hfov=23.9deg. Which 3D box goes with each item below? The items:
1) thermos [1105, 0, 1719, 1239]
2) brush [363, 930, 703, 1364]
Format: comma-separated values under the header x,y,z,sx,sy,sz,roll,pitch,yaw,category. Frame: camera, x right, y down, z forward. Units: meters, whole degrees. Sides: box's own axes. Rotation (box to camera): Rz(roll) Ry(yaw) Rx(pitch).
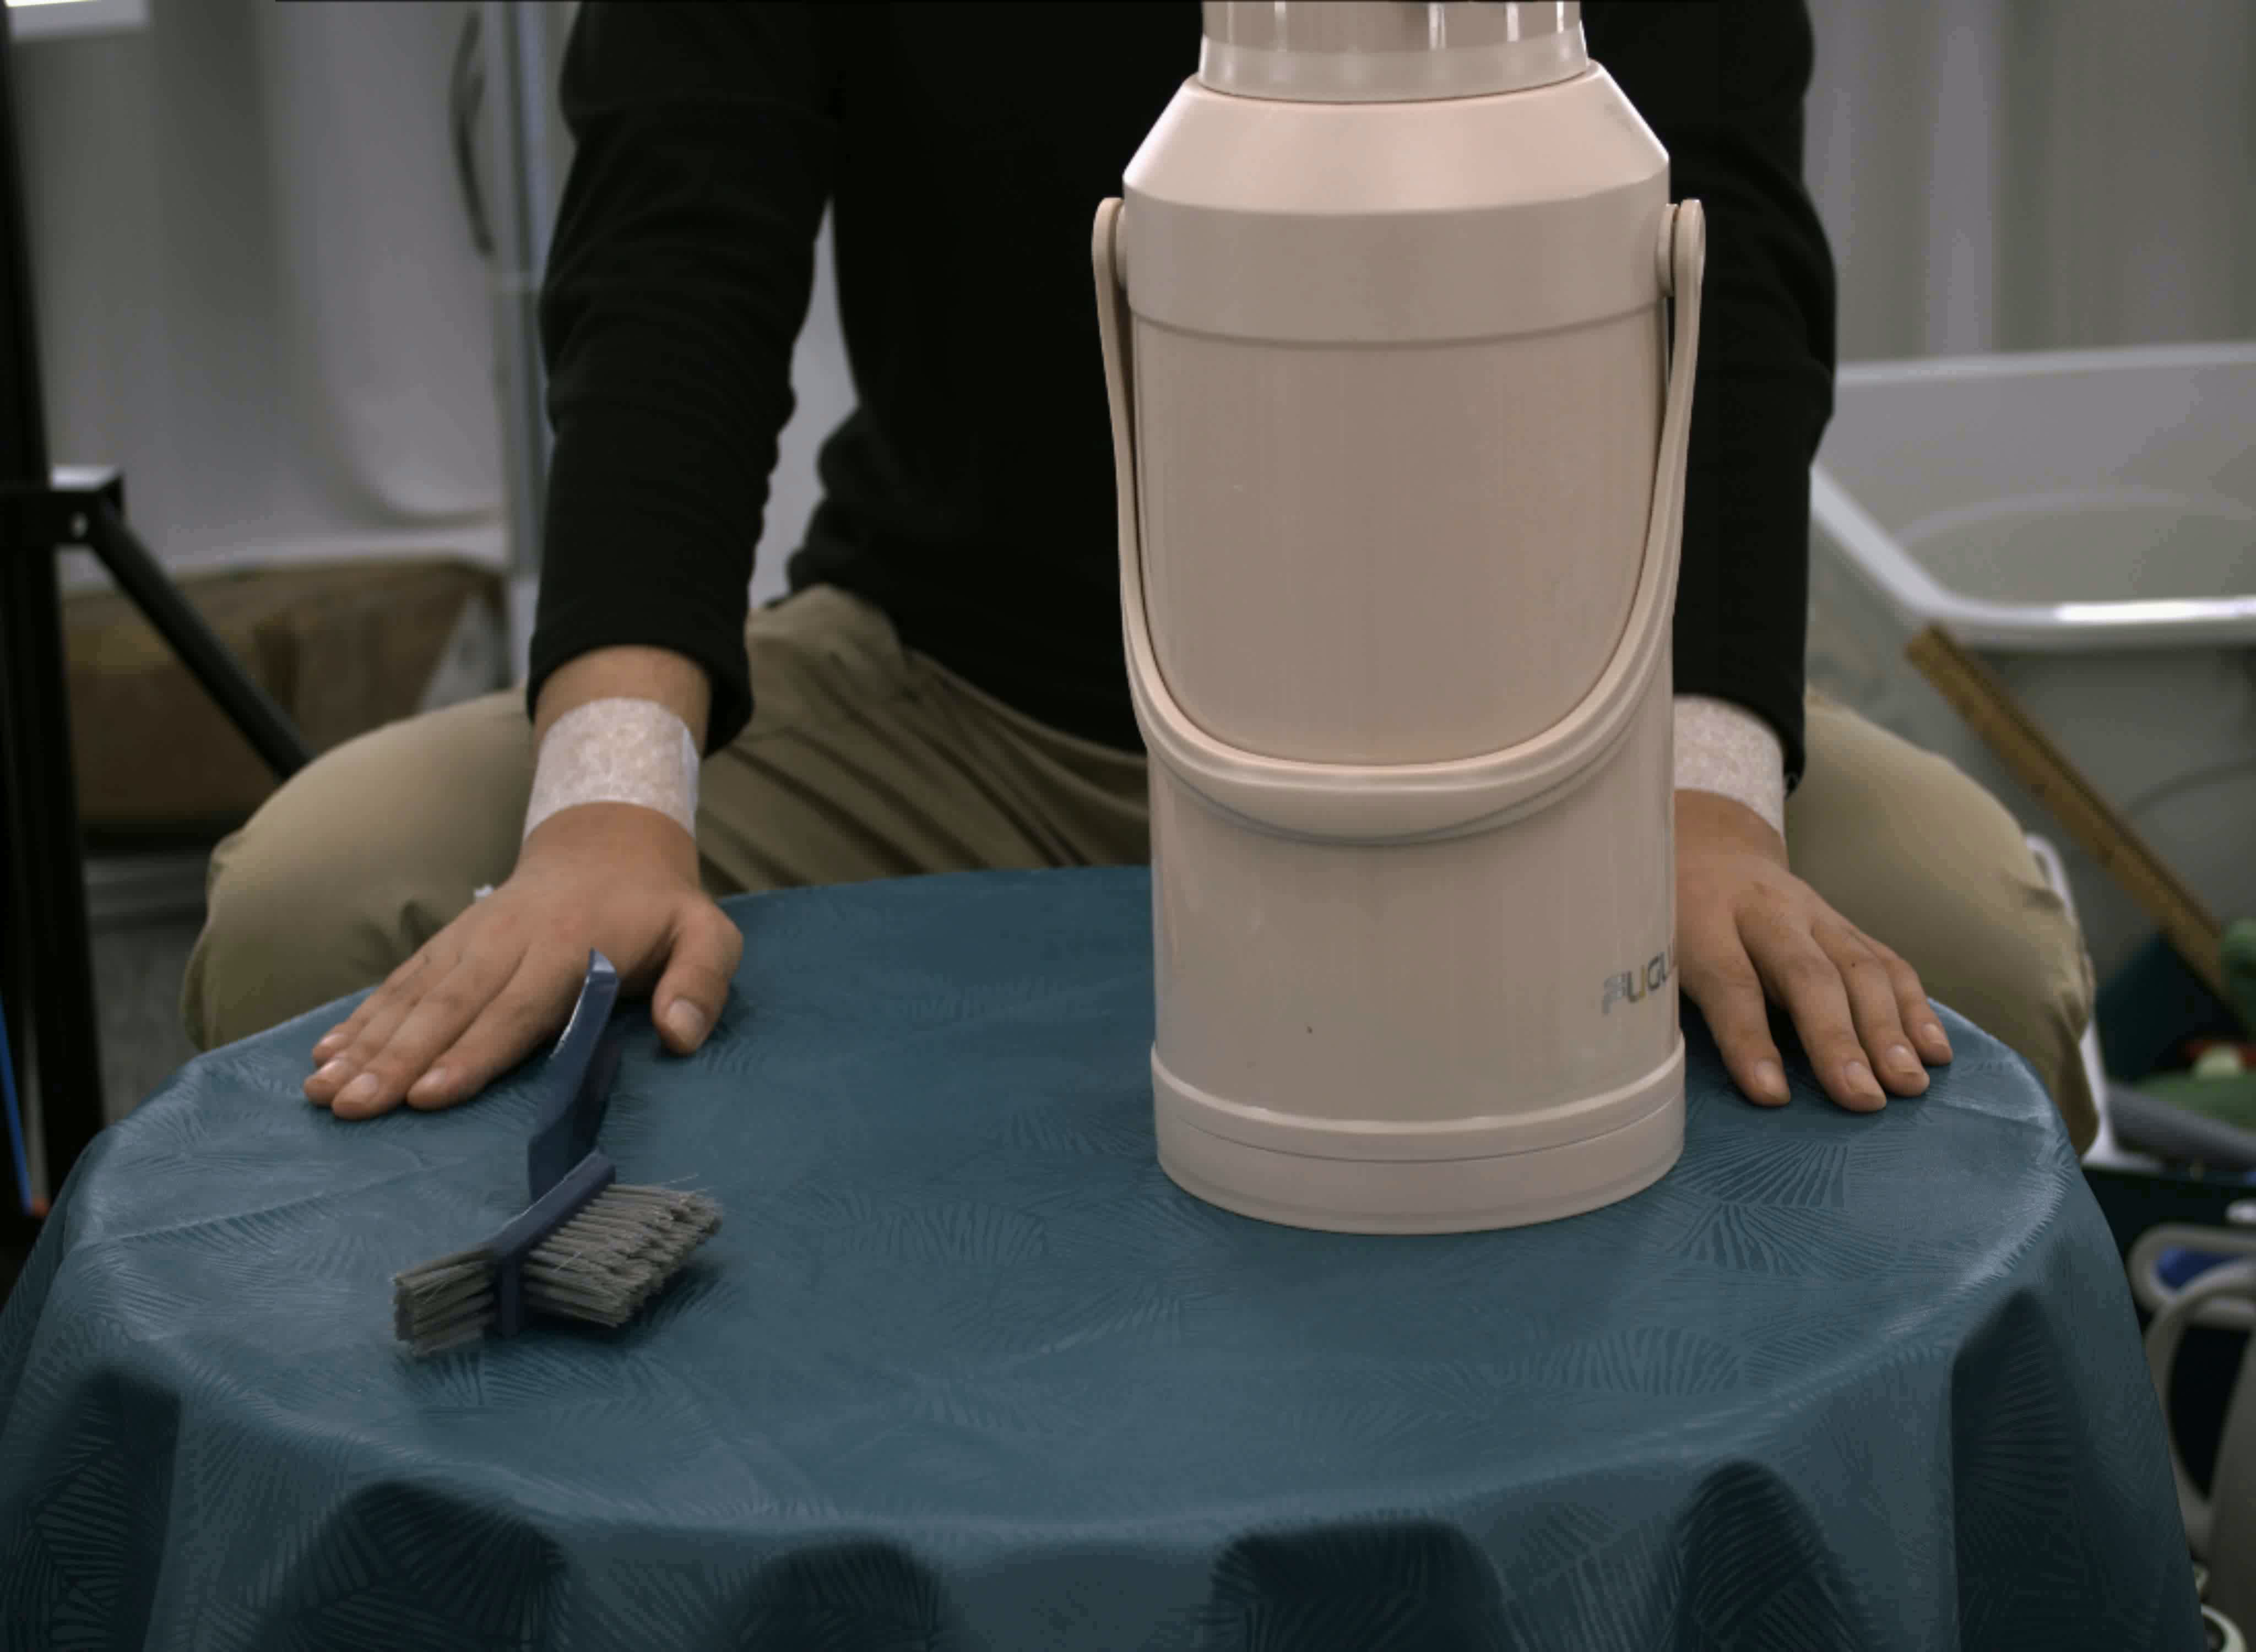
x,y,z,sx,sy,sz,roll,pitch,yaw,category
0.088,-0.099,1.547,0.176,0.406,0.205,0,15,15,thermos
-0.176,0.092,1.583,0.095,0.033,0.275,-3,18,-5,brush
